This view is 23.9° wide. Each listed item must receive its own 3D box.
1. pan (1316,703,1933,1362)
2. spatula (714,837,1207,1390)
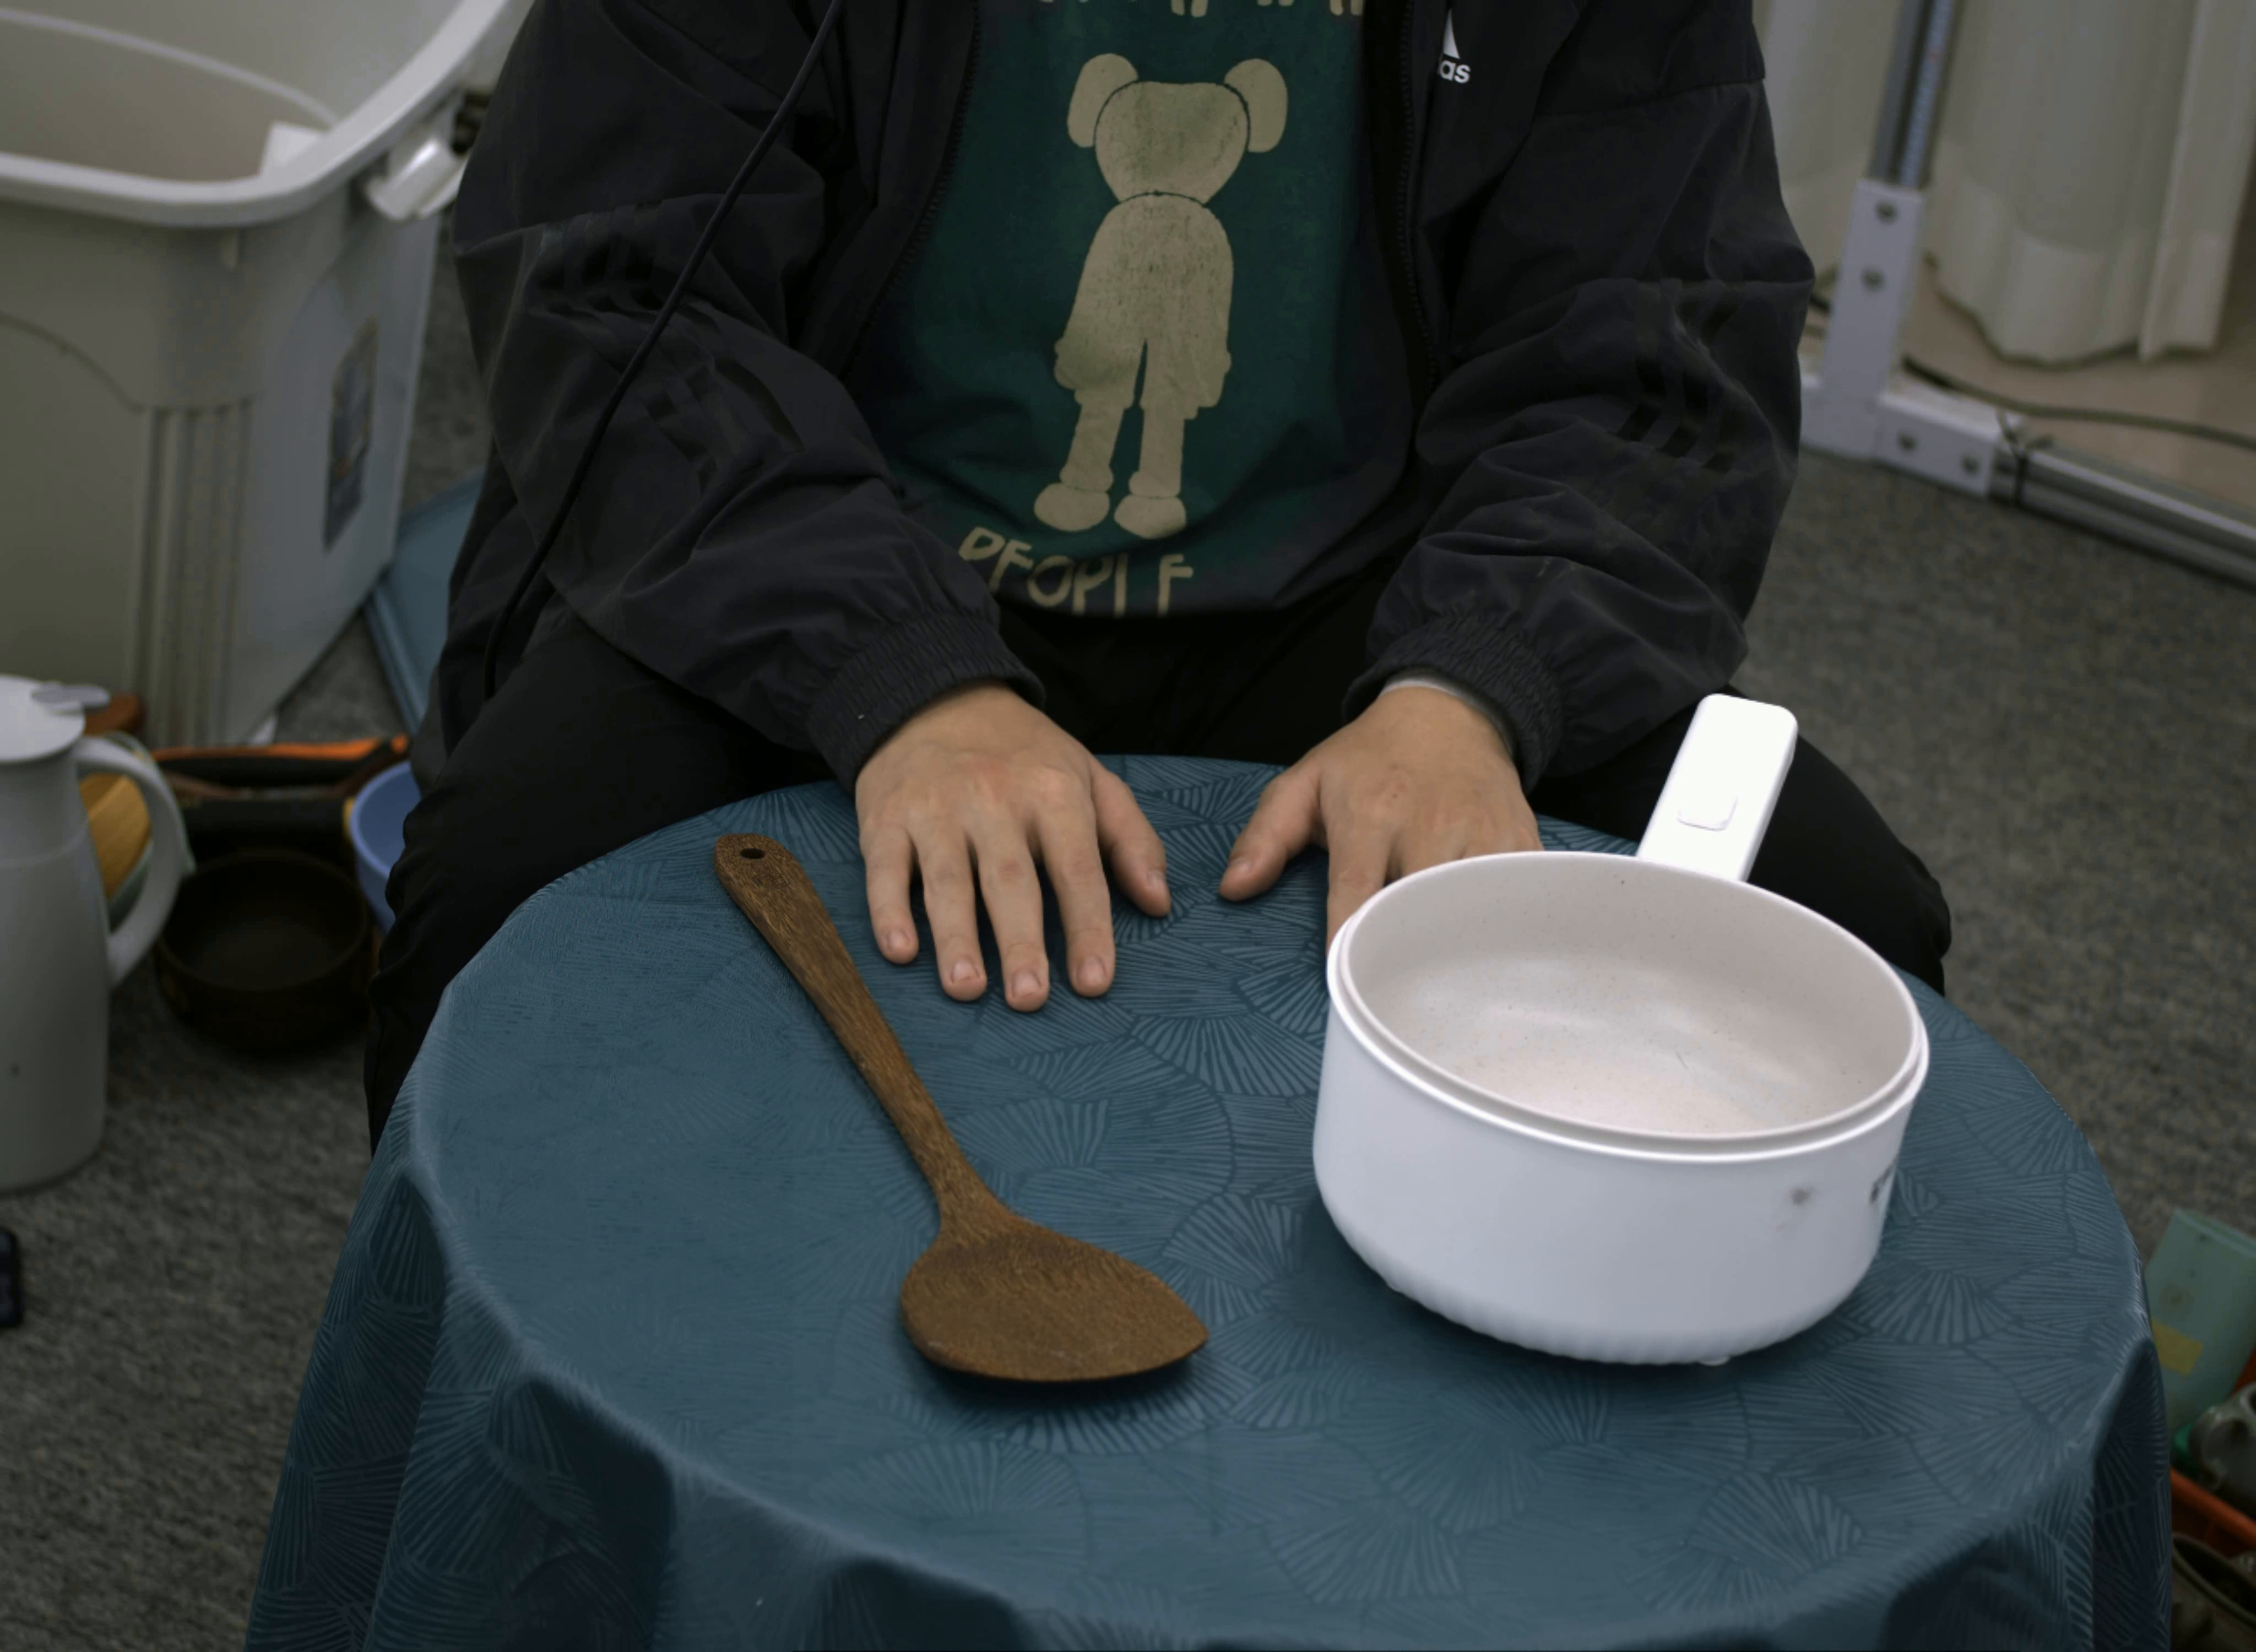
[{"bbox_3d":[0.183,0.067,1.850,0.201,0.102,0.355,12,26,12],"label":"pan"},{"bbox_3d":[-0.079,0.090,1.838,0.095,0.016,0.389,-4,28,-21],"label":"spatula"}]
